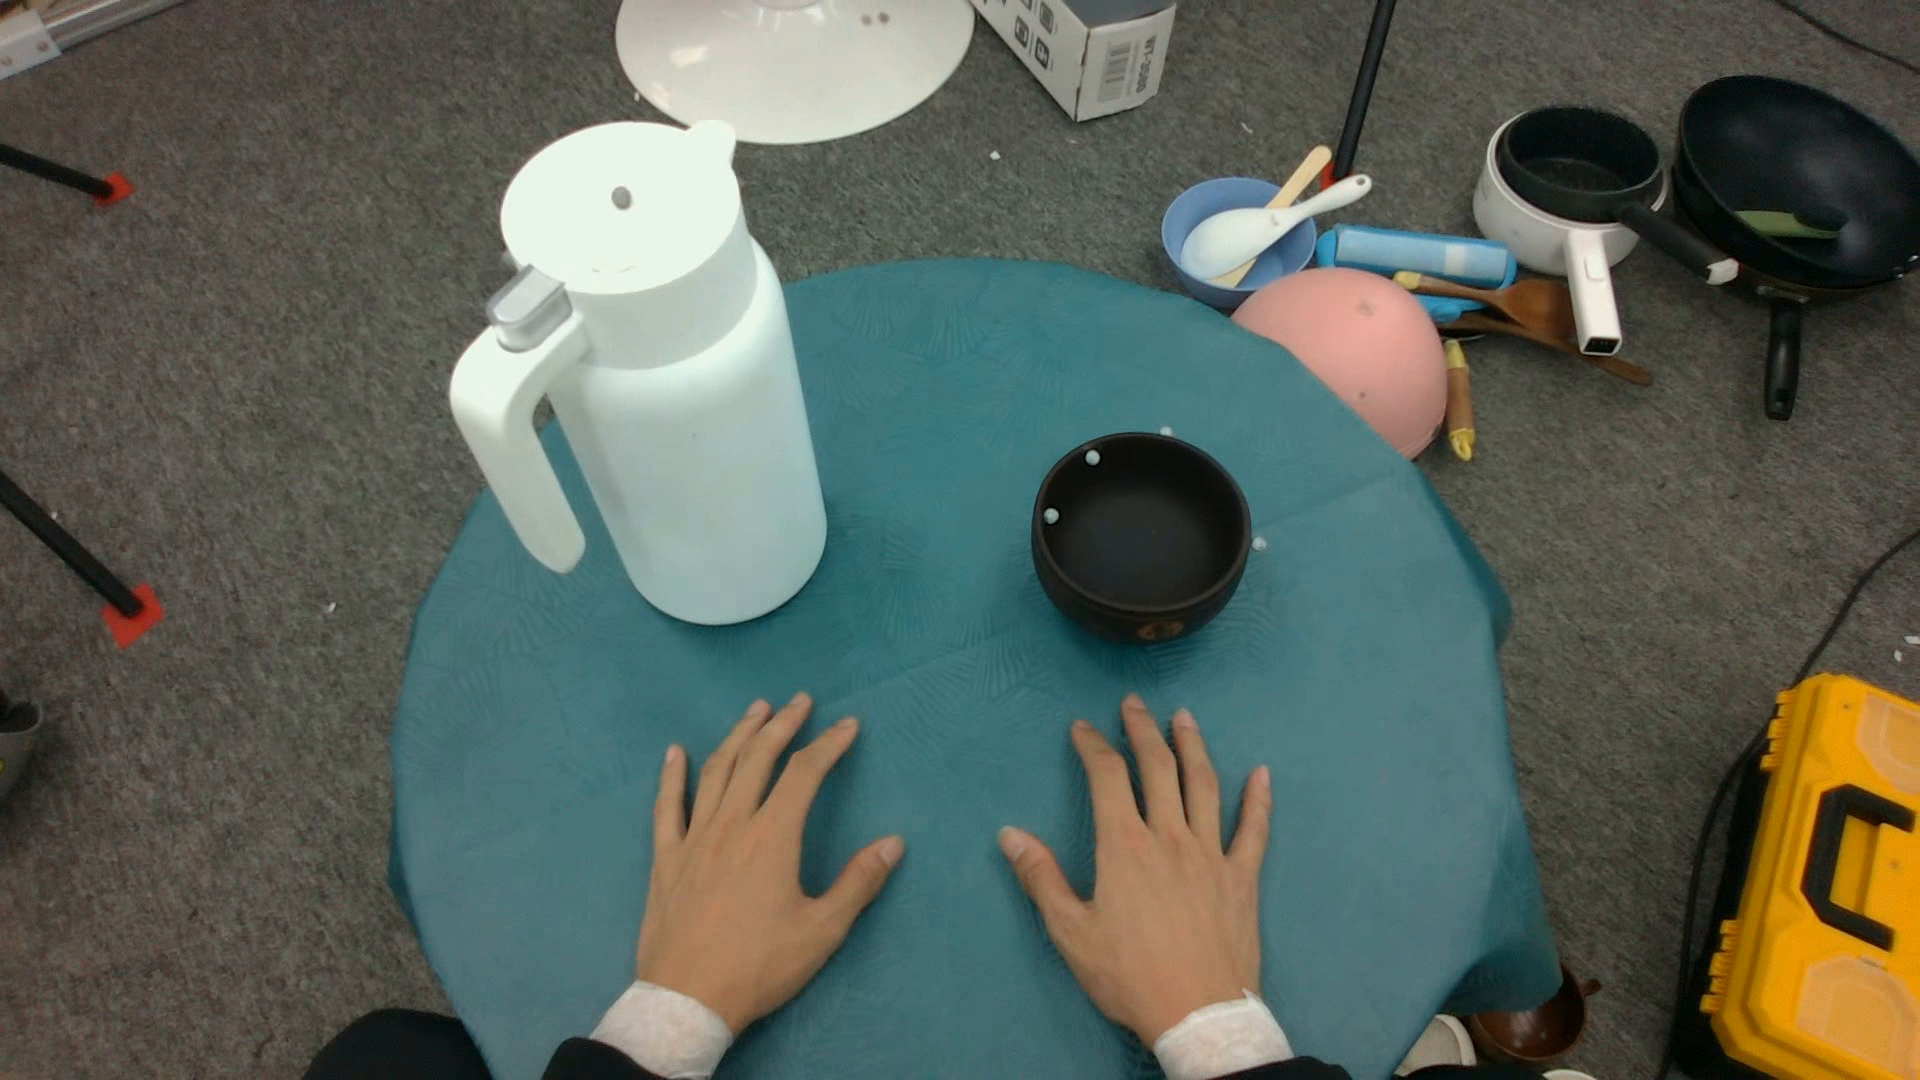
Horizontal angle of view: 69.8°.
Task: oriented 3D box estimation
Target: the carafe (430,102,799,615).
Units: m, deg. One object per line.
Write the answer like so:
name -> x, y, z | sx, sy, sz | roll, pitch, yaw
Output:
carafe -> -0.159, -0.061, 0.677 | 0.124, 0.267, 0.173 | 27, 62, 14

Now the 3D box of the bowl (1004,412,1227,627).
bowl -> 0.083, -0.004, 0.753 | 0.118, 0.069, 0.118 | 0, 58, 0
